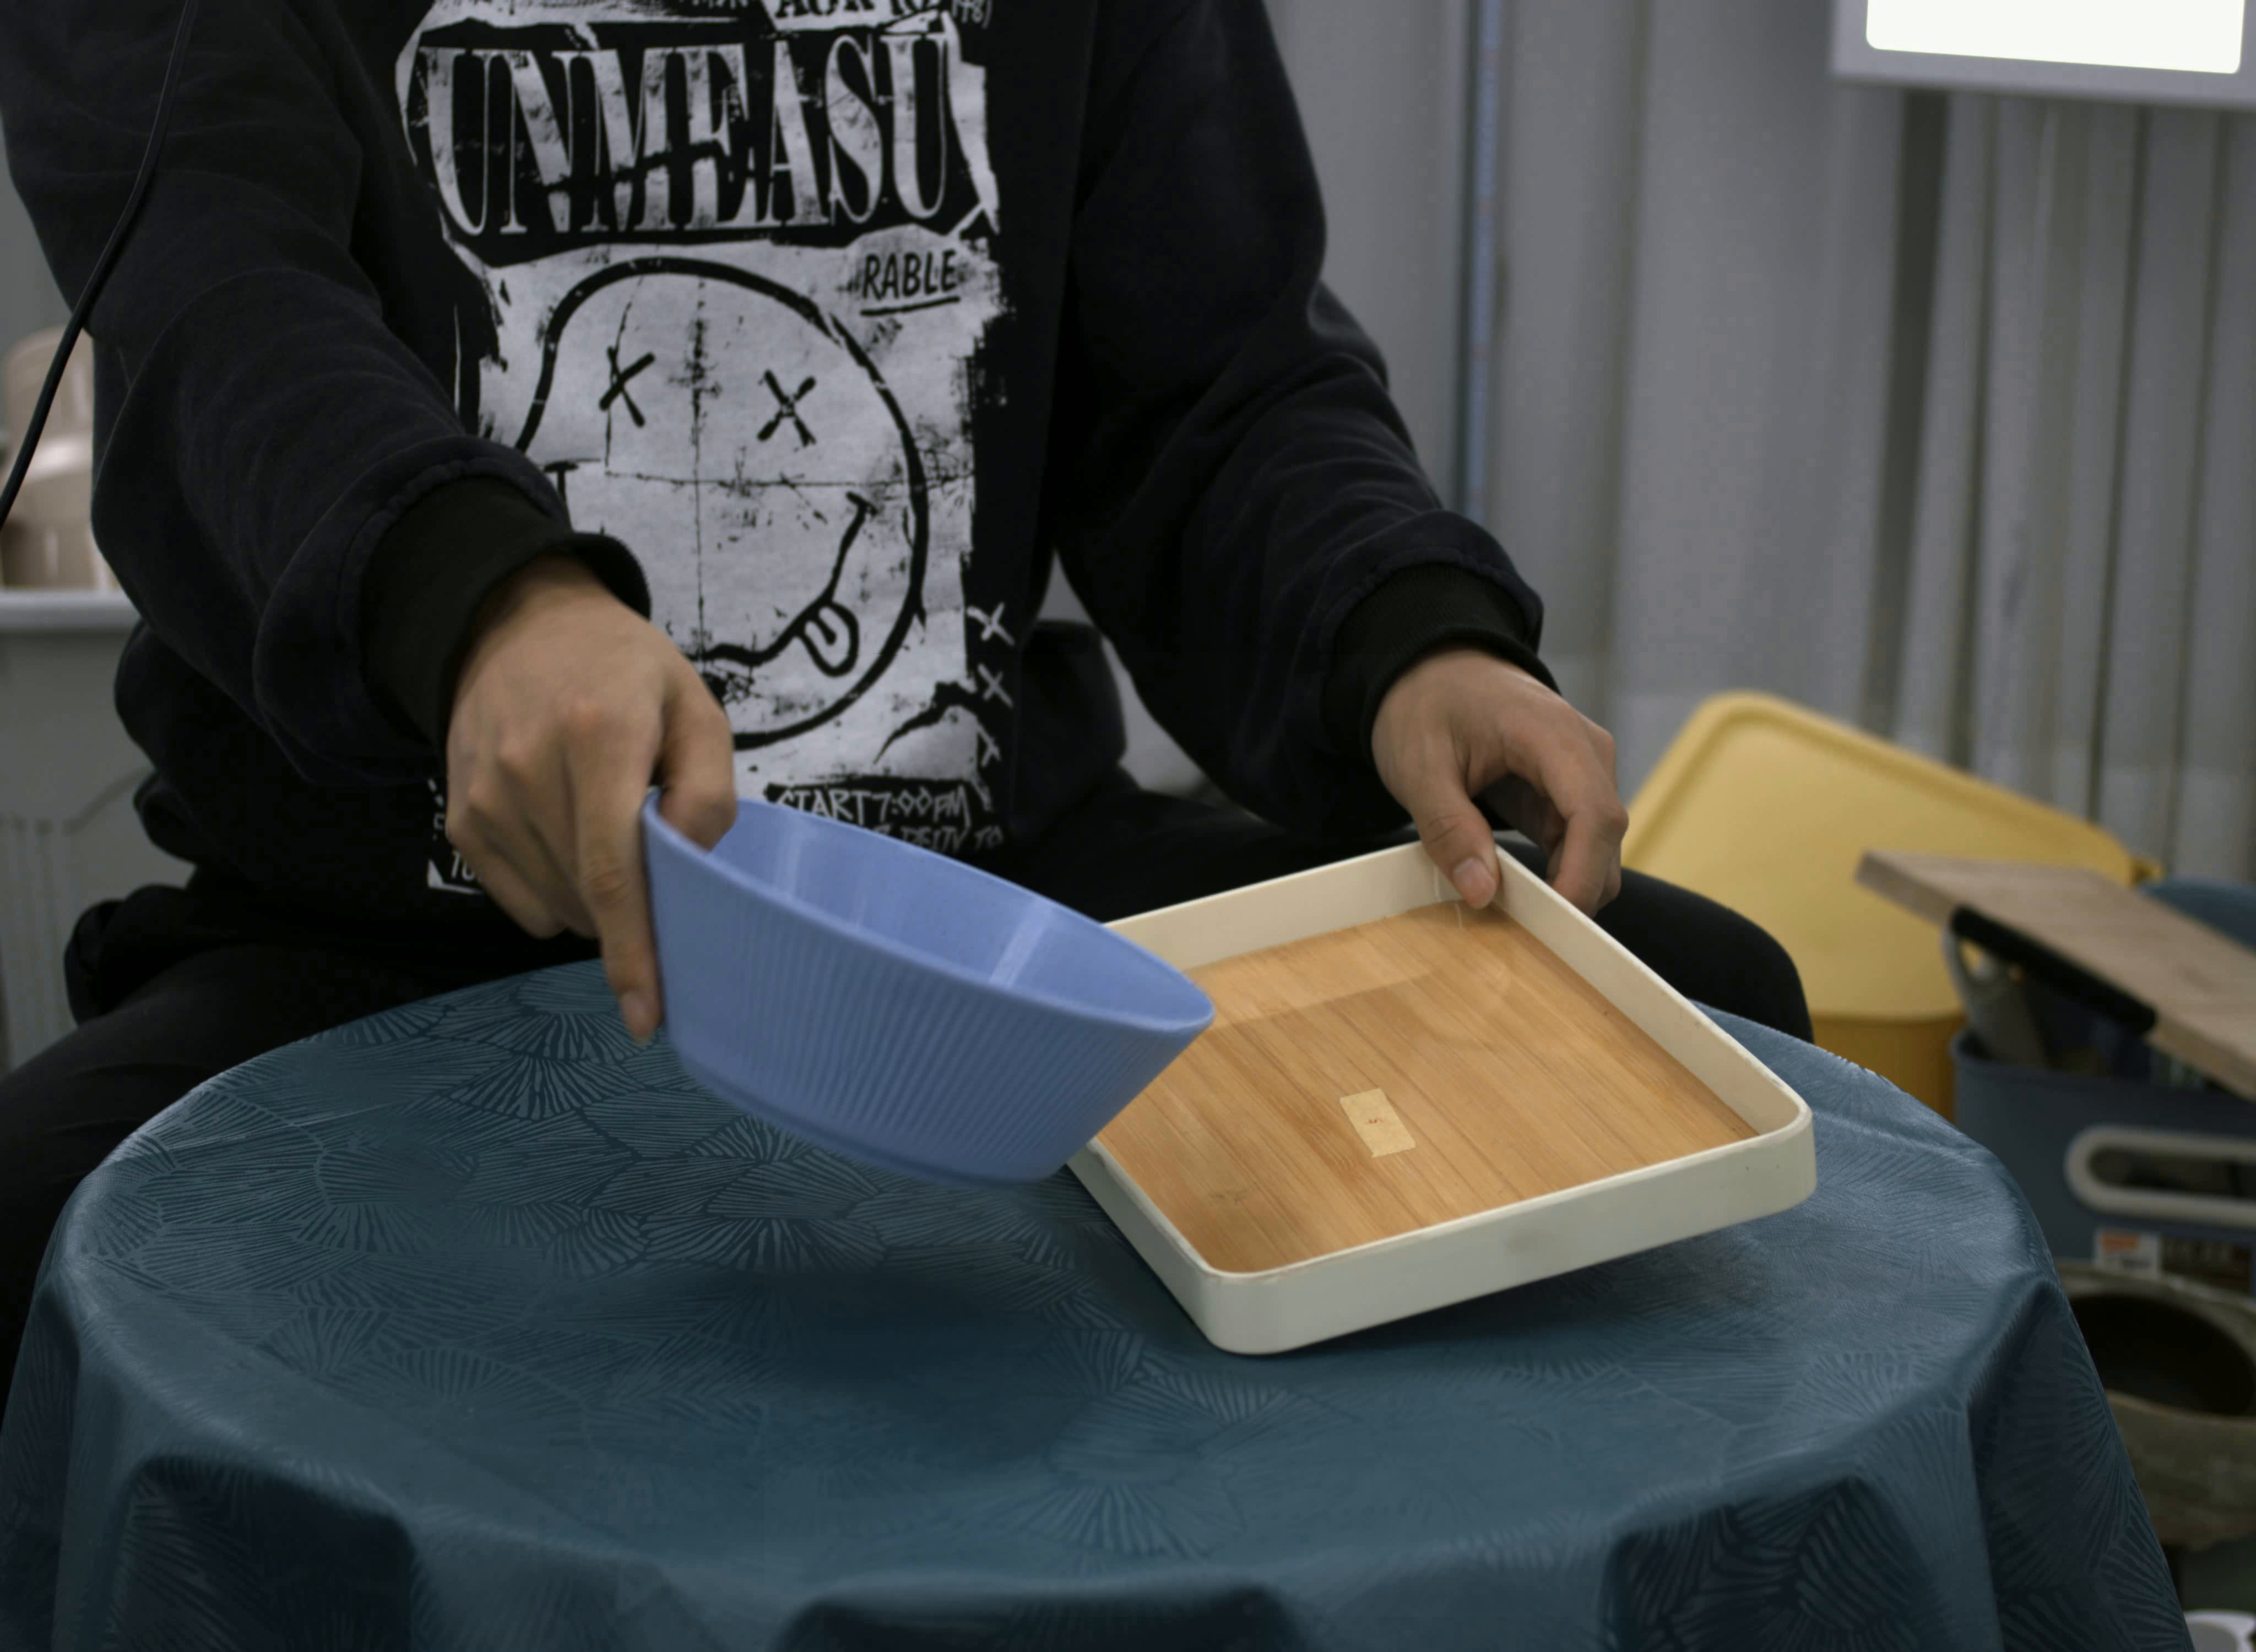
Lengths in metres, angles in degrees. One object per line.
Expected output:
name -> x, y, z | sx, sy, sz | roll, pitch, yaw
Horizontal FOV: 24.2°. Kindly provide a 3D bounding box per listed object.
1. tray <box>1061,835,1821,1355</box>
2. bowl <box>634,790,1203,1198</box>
tray -> 0.074, 0.078, 1.636 | 0.191, 0.028, 0.297 | -14, 21, -13
bowl -> -0.071, 0.053, 1.518 | 0.176, 0.070, 0.175 | 22, 9, -3
